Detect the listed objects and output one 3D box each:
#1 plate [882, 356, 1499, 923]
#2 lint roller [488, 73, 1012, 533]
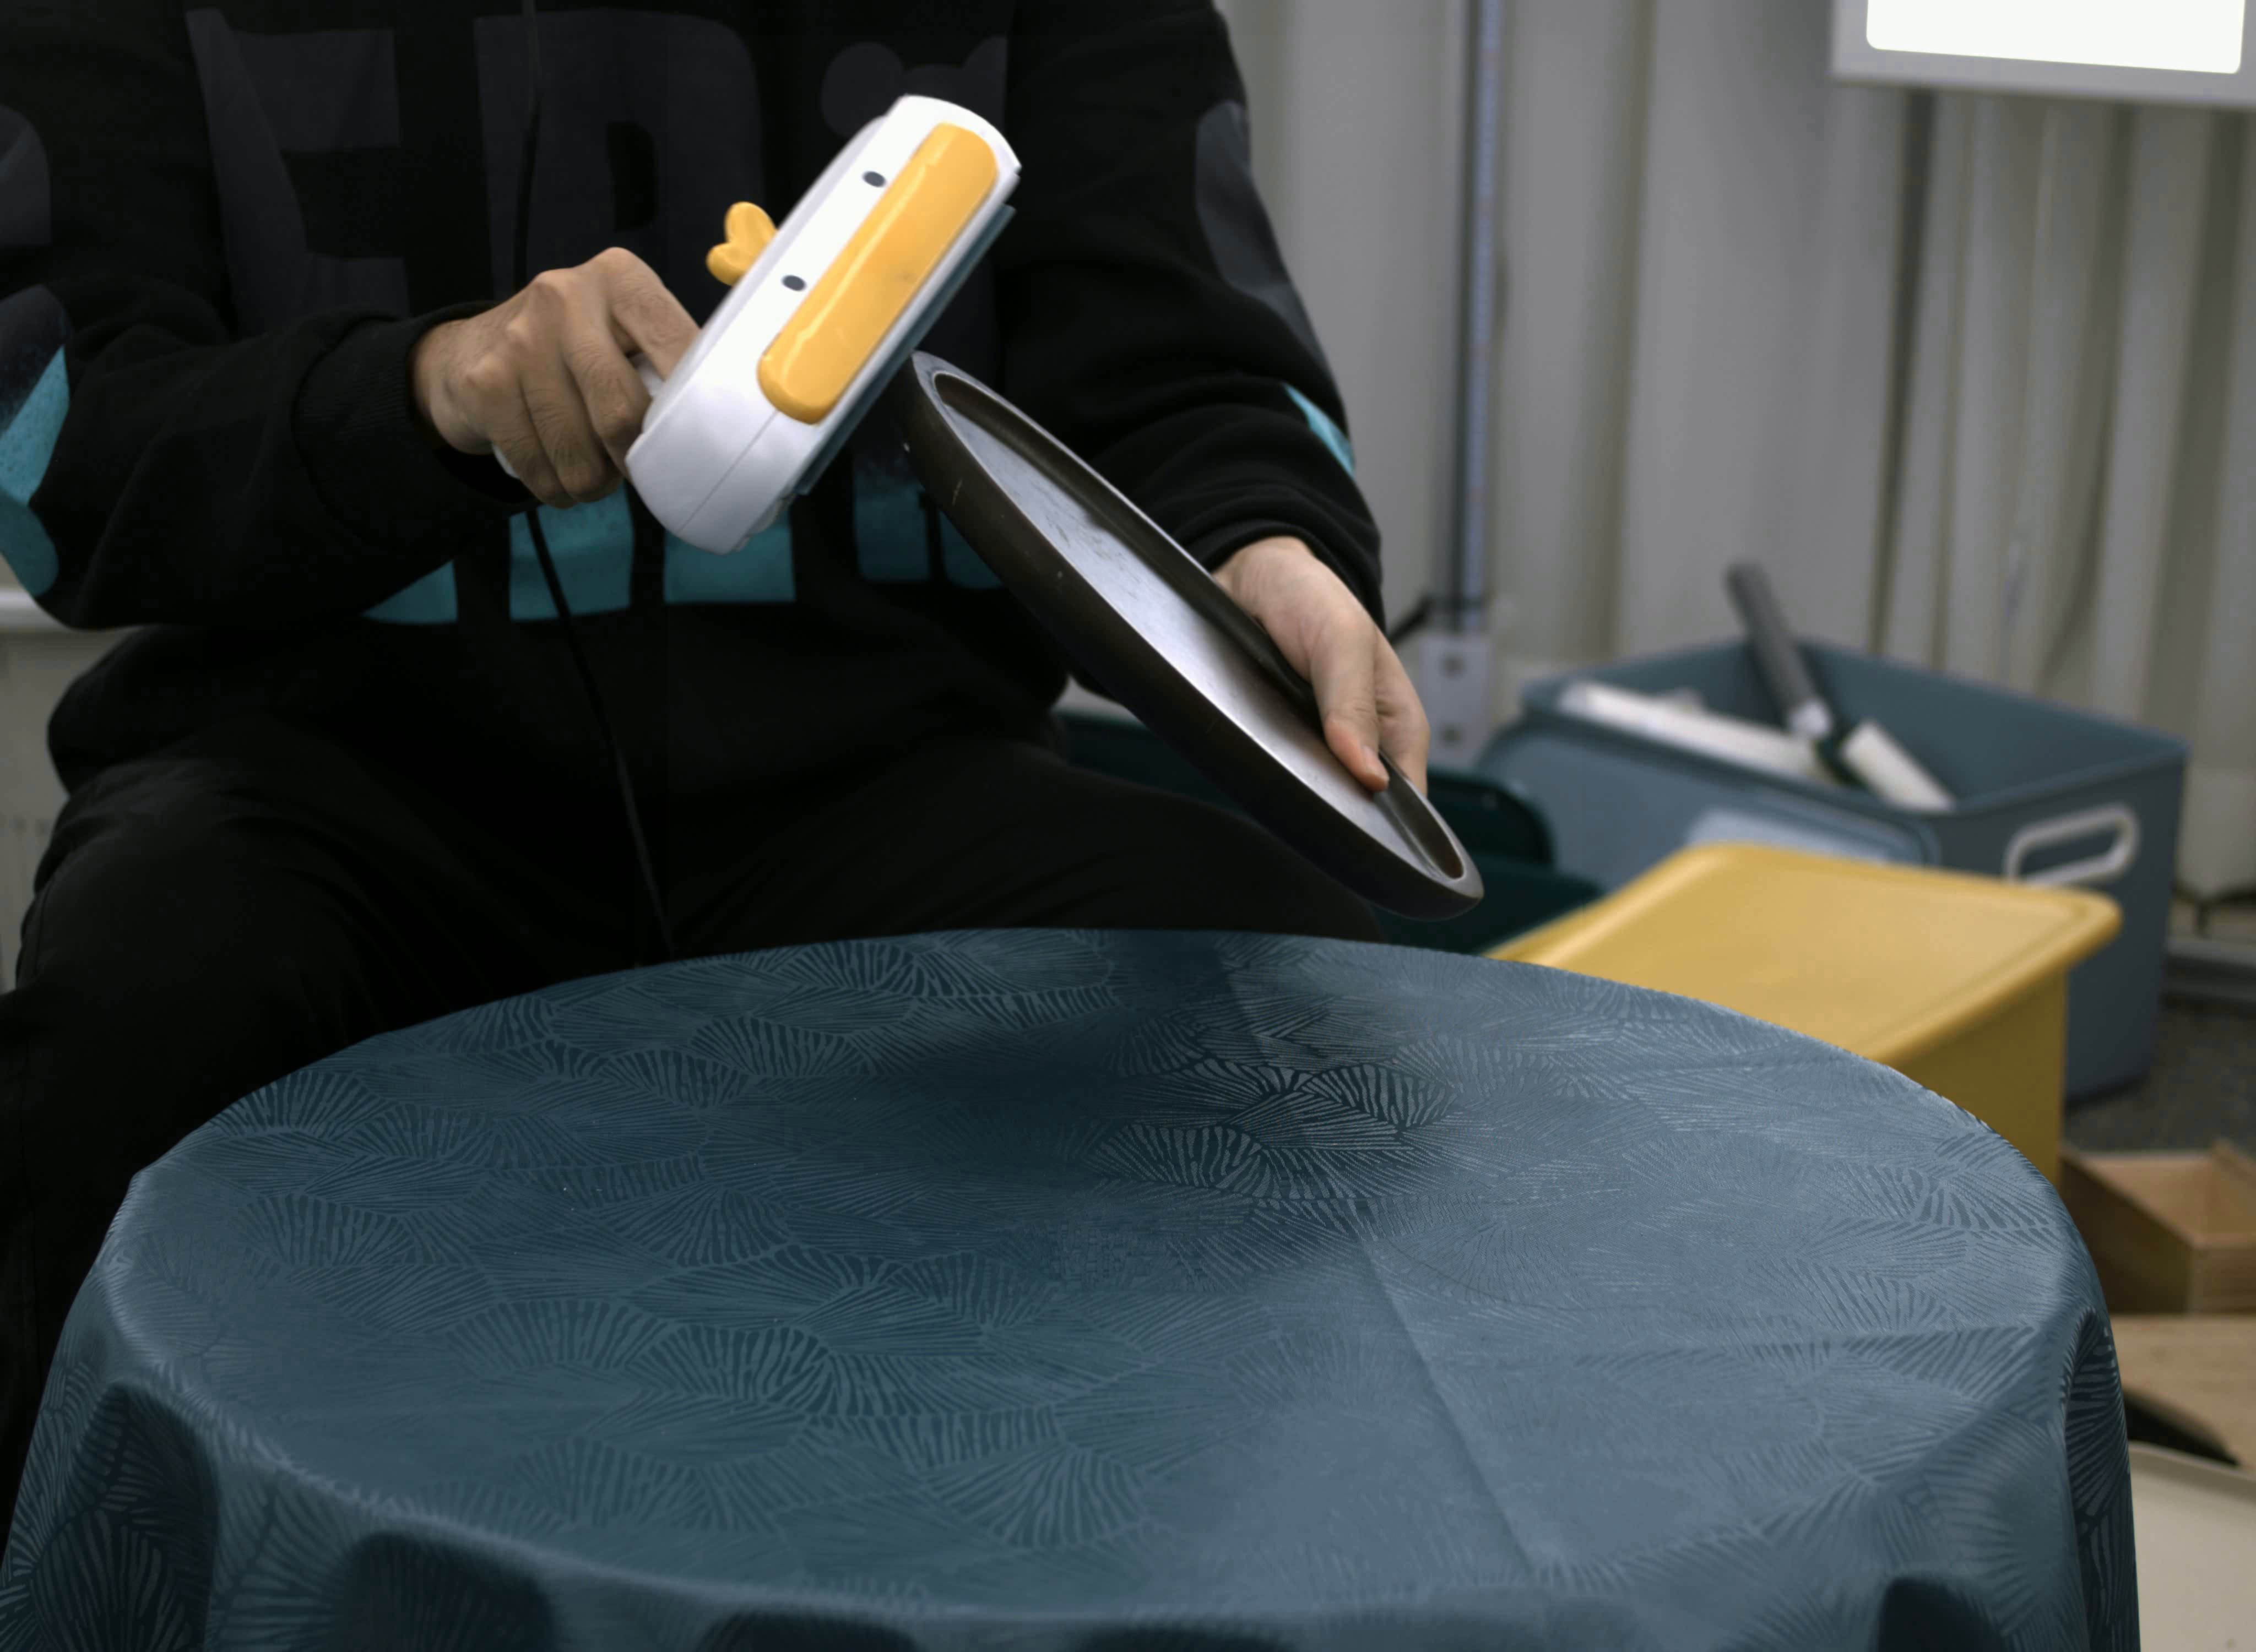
[{"bbox_3d":[0.017,-0.058,1.683,0.255,0.029,0.254,42,8,-6],"label":"plate"},{"bbox_3d":[-0.135,-0.147,1.707,0.192,0.075,0.192,-35,22,43],"label":"lint roller"}]
